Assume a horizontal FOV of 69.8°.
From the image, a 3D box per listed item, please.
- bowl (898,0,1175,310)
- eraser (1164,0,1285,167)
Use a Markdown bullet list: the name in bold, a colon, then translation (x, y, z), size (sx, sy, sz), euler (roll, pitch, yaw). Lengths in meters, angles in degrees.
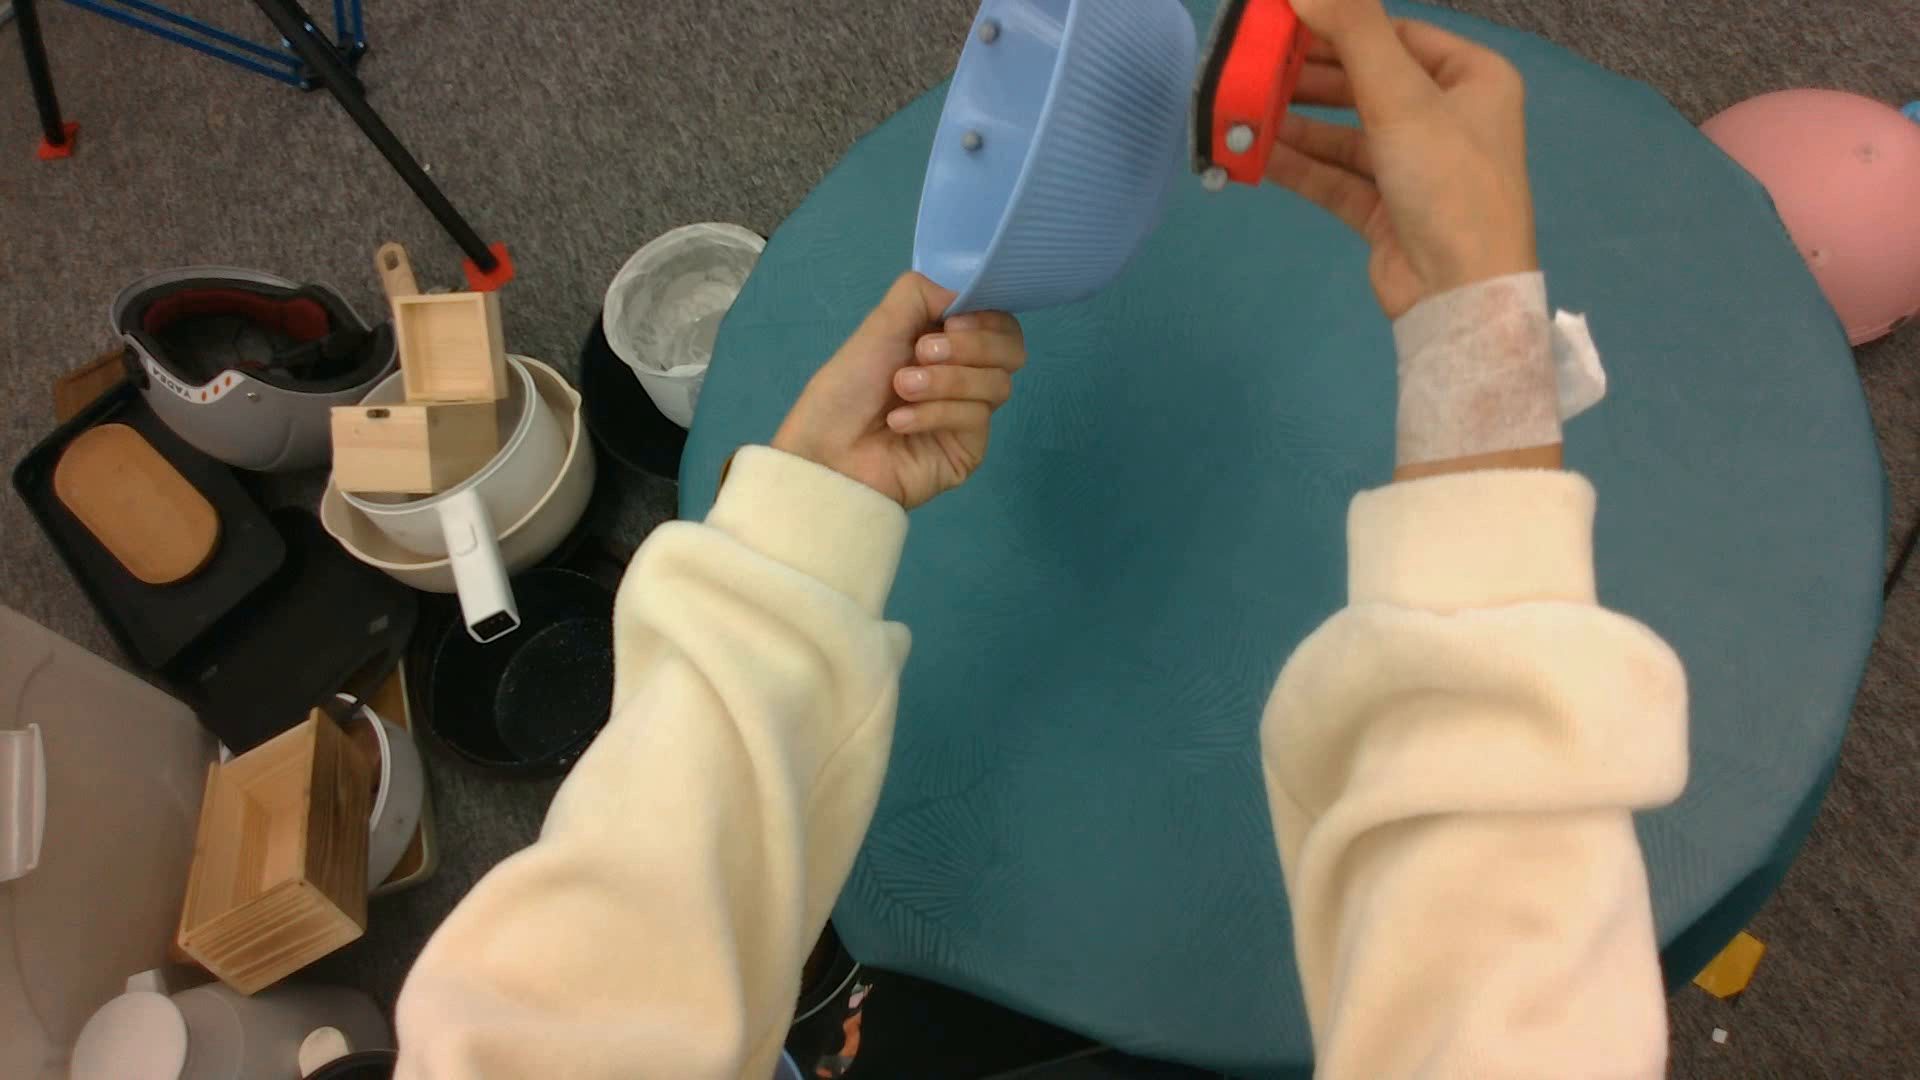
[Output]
- **bowl**: translation (0.033, -0.171, 0.561), size (0.070, 0.175, 0.176), euler (13, 68, -18)
- **eraser**: translation (0.091, -0.178, 0.438), size (0.023, 0.059, 0.108), euler (16, 80, 12)
